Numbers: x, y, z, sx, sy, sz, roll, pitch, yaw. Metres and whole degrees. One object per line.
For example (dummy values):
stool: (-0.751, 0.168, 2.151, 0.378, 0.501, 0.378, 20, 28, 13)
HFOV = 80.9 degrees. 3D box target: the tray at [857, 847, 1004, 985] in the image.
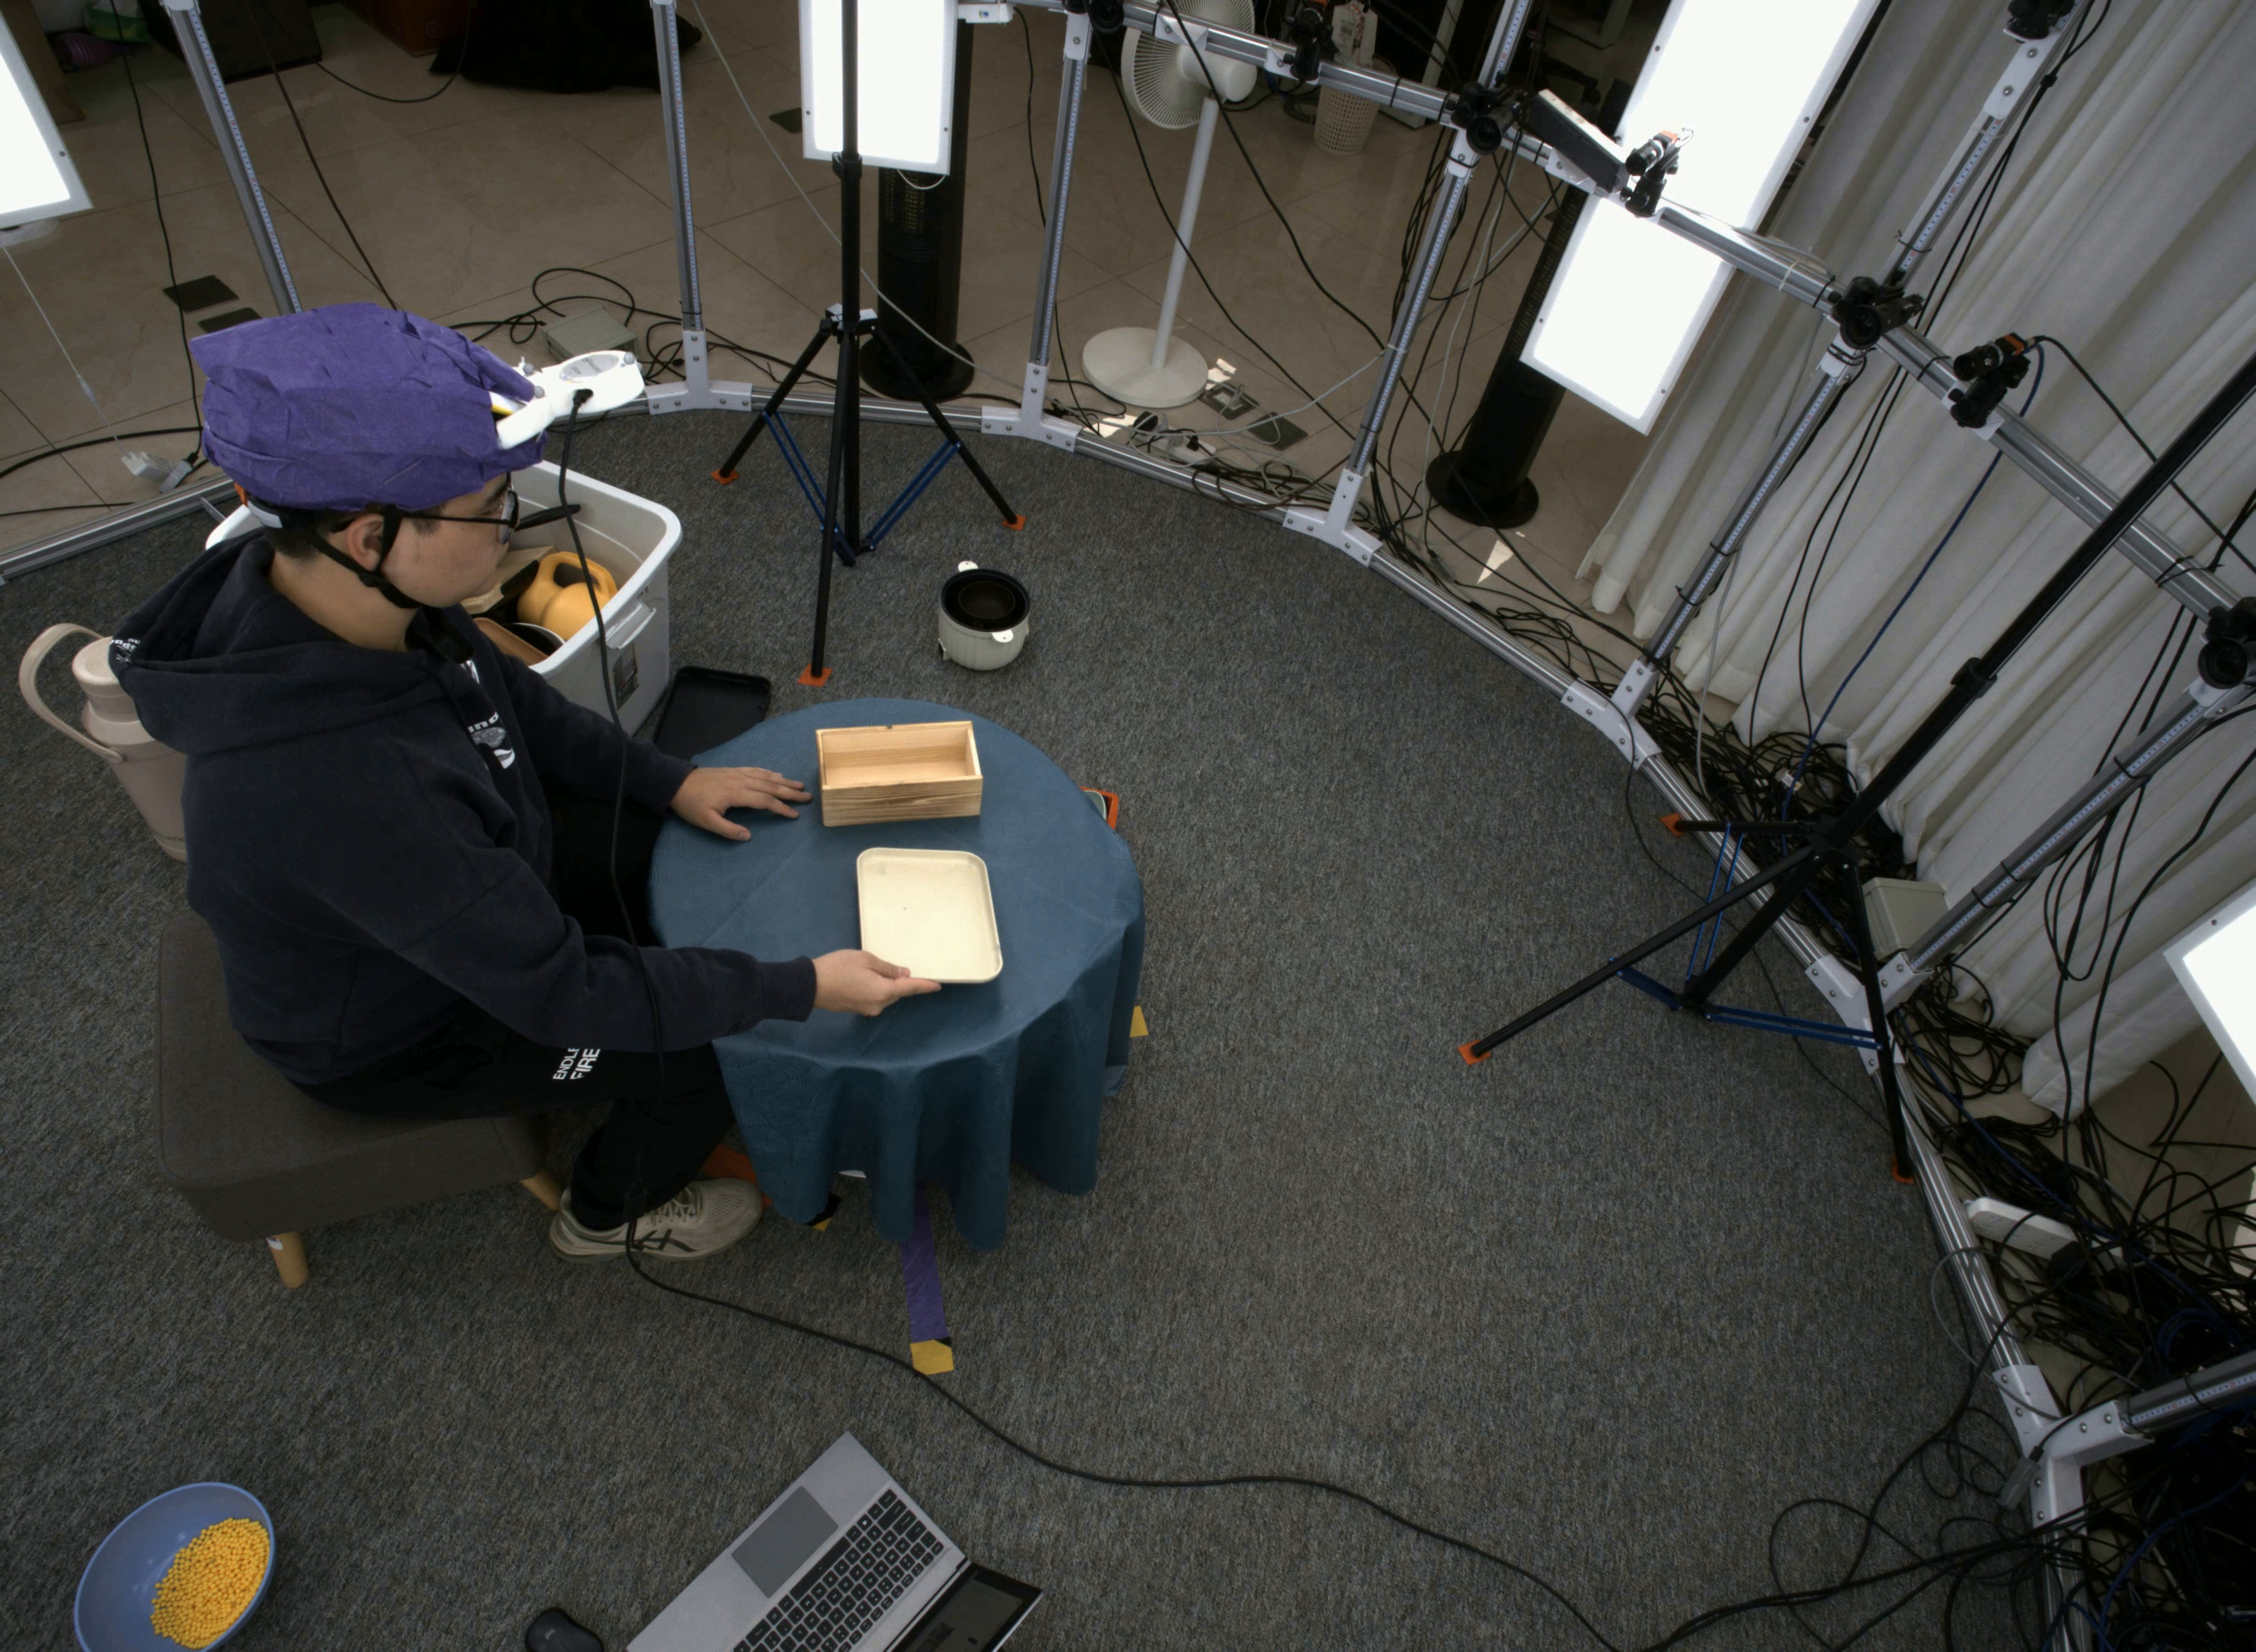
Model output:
tray: (-0.251, 0.111, 1.632, 0.172, 0.018, 0.233, 4, 40, -19)

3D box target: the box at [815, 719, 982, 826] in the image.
box: (-0.310, -0.074, 1.753, 0.212, 0.082, 0.105, -5, 54, -17)
